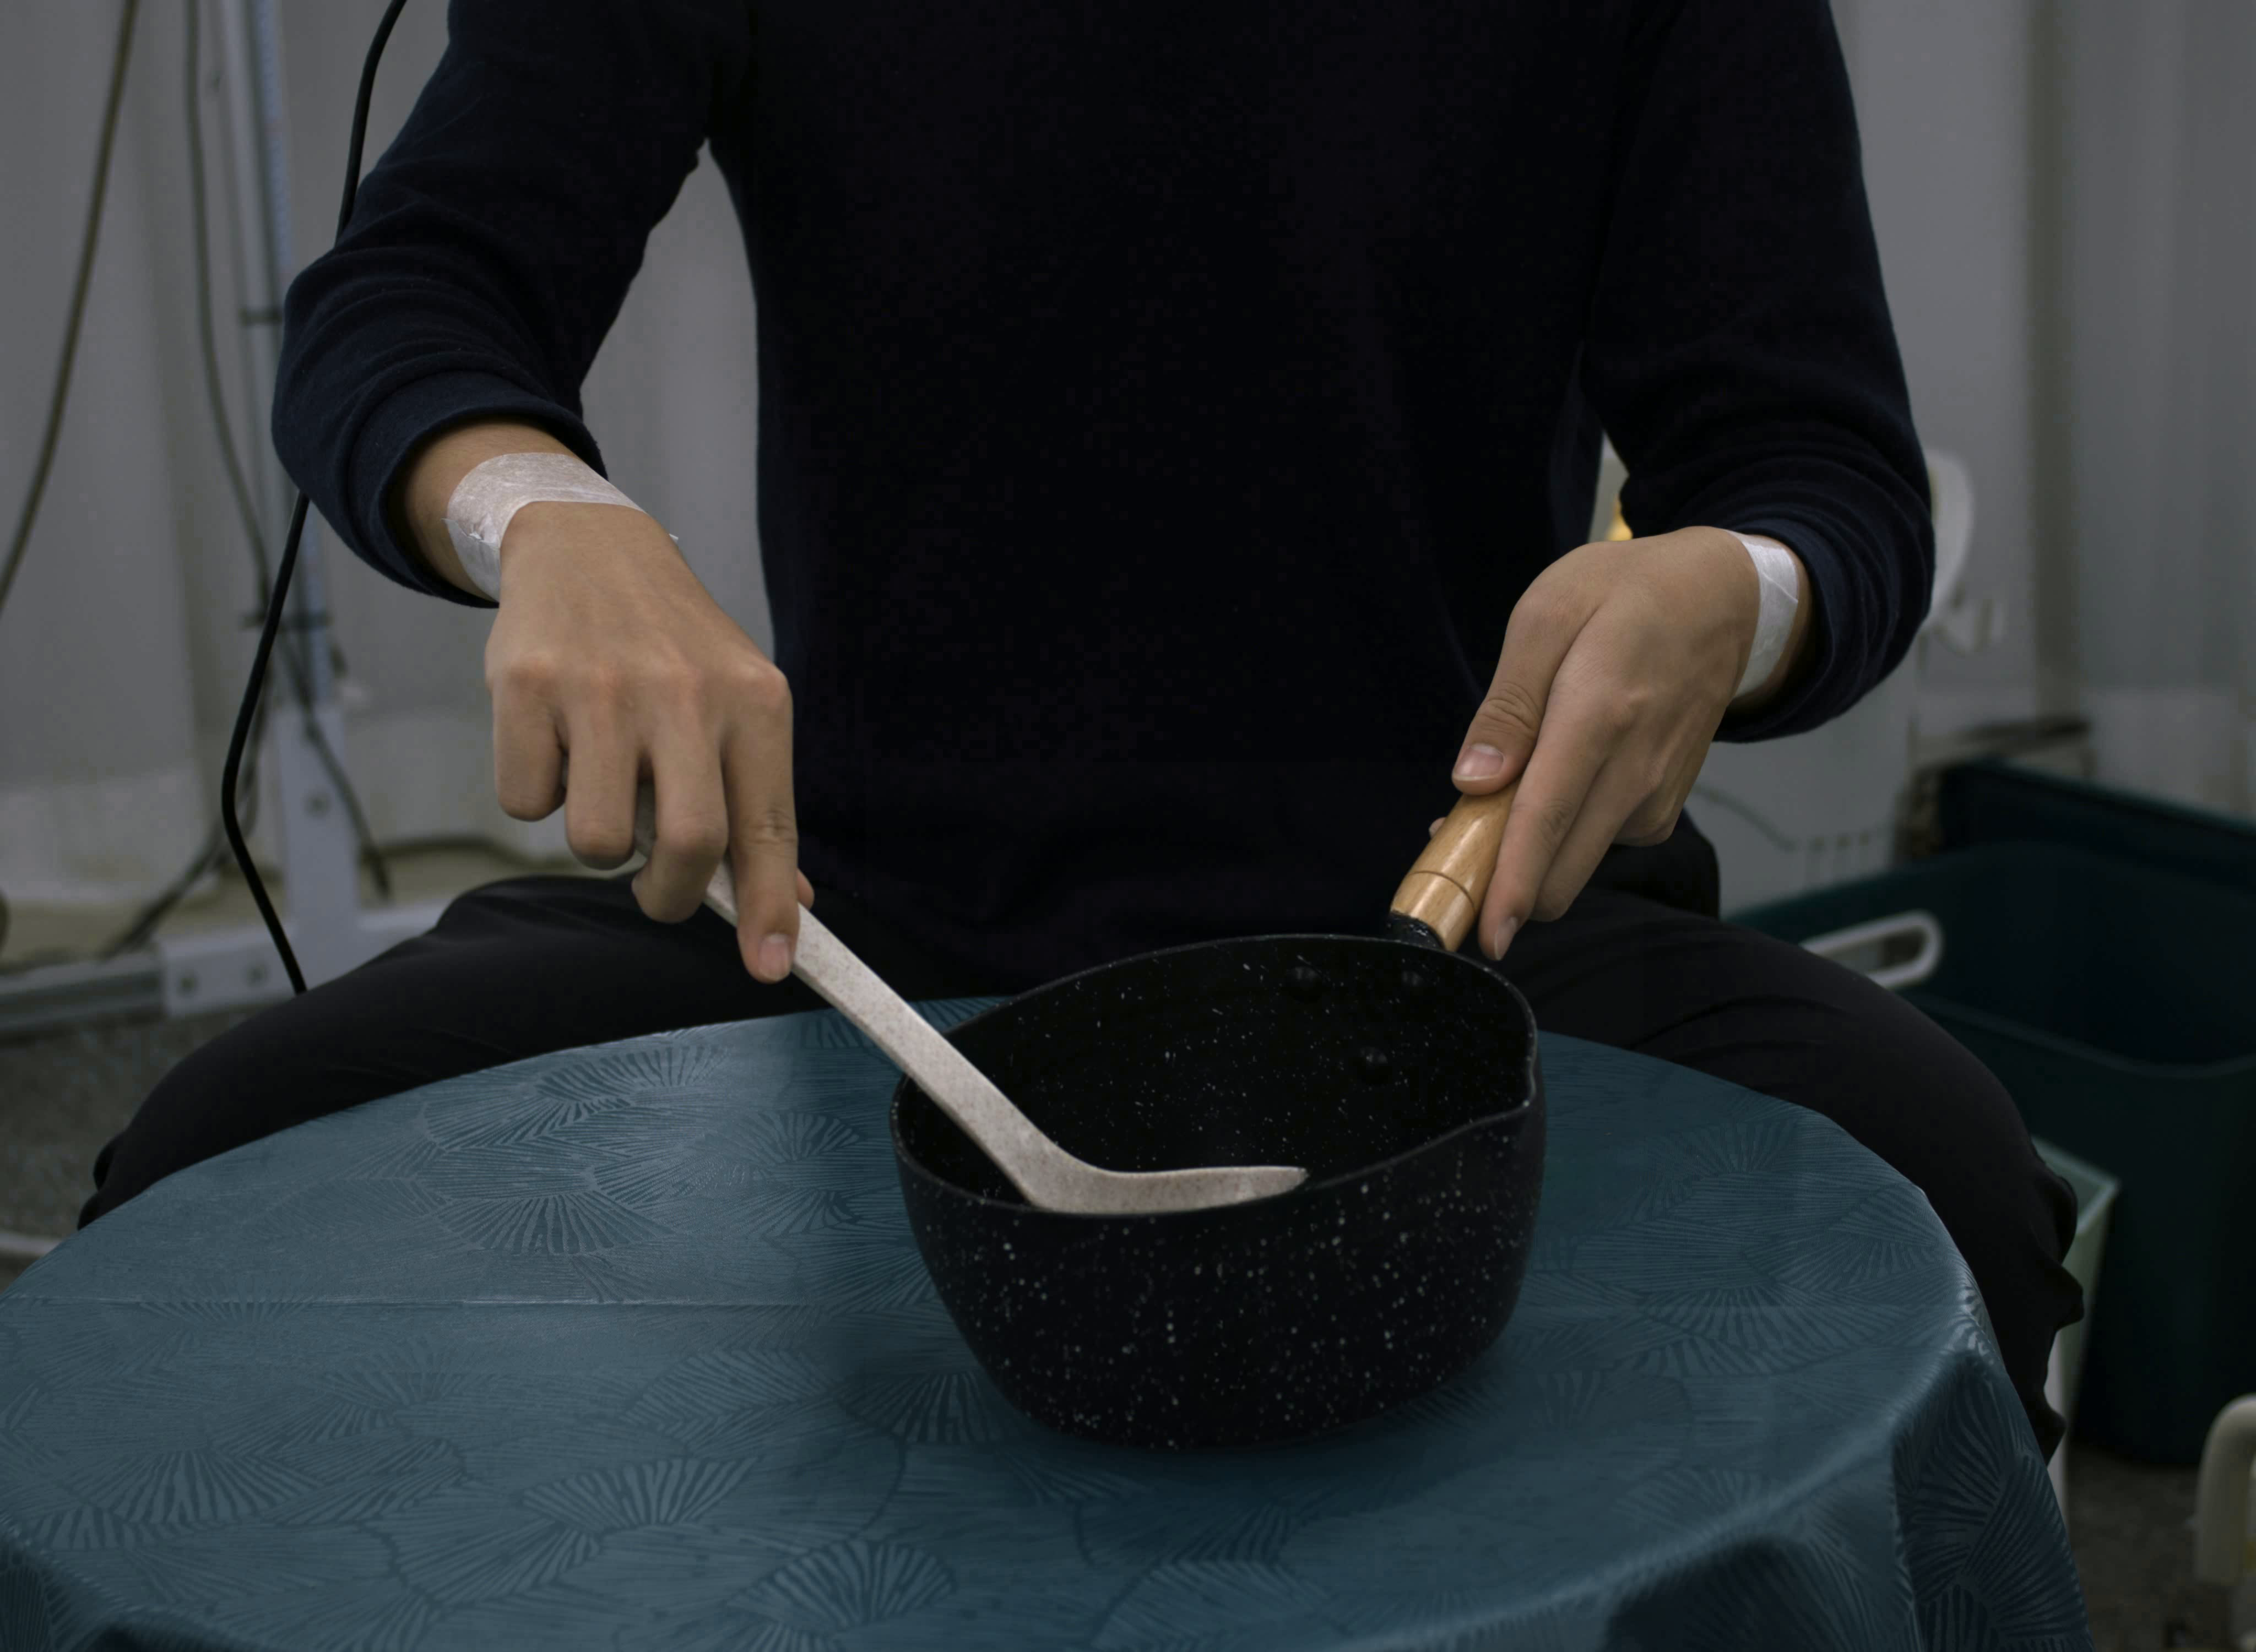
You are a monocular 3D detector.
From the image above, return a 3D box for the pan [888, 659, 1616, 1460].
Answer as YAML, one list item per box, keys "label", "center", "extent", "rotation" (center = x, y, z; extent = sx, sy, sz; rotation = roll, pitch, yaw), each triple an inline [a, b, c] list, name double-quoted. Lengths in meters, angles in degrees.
- label: "pan"
  center: [0.066, 0.064, 1.605]
  extent: [0.208, 0.107, 0.344]
  rotation: [2, 25, 30]

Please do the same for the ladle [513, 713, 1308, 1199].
- label: "ladle"
  center: [-0.059, 0.045, 1.549]
  extent: [0.275, 0.069, 0.090]
  rotation: [43, 42, 4]
